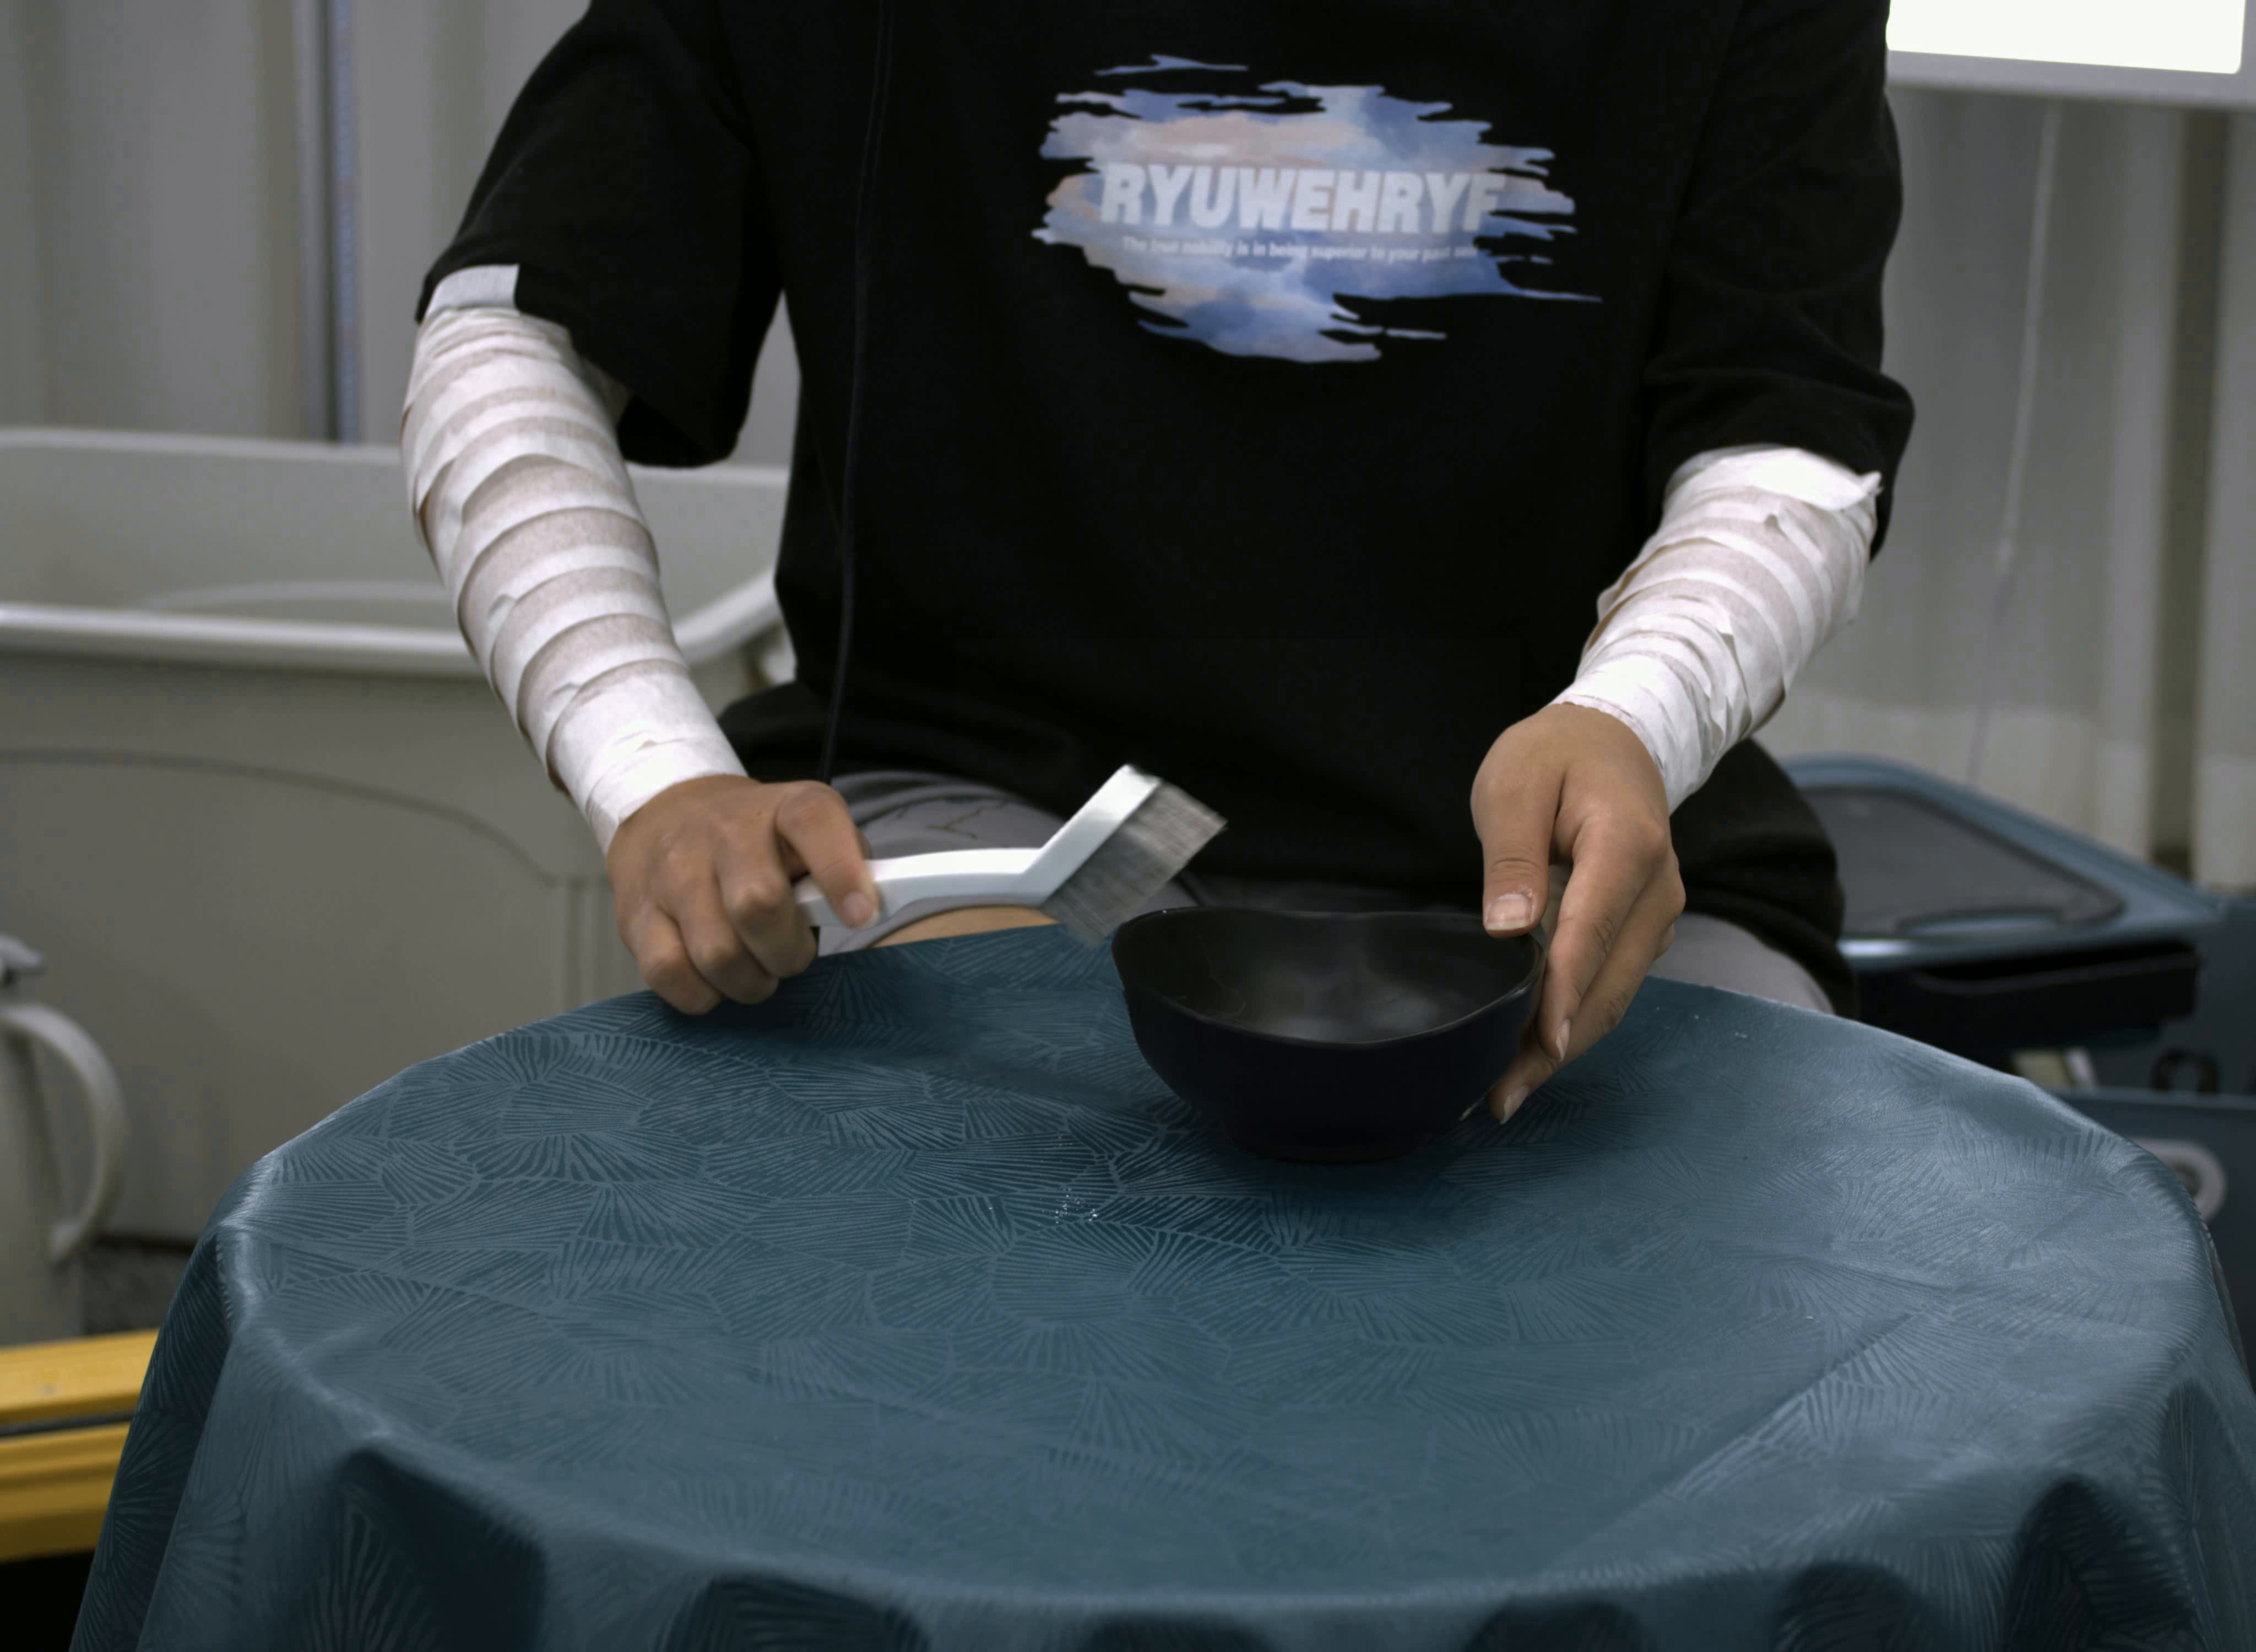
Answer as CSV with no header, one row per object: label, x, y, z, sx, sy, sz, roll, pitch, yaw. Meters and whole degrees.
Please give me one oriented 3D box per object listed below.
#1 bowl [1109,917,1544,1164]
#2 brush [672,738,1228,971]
bowl,0.062,0.068,1.669,0.137,0.067,0.169,1,13,0
brush,-0.060,0.027,1.737,0.242,0.050,0.034,-21,21,42
